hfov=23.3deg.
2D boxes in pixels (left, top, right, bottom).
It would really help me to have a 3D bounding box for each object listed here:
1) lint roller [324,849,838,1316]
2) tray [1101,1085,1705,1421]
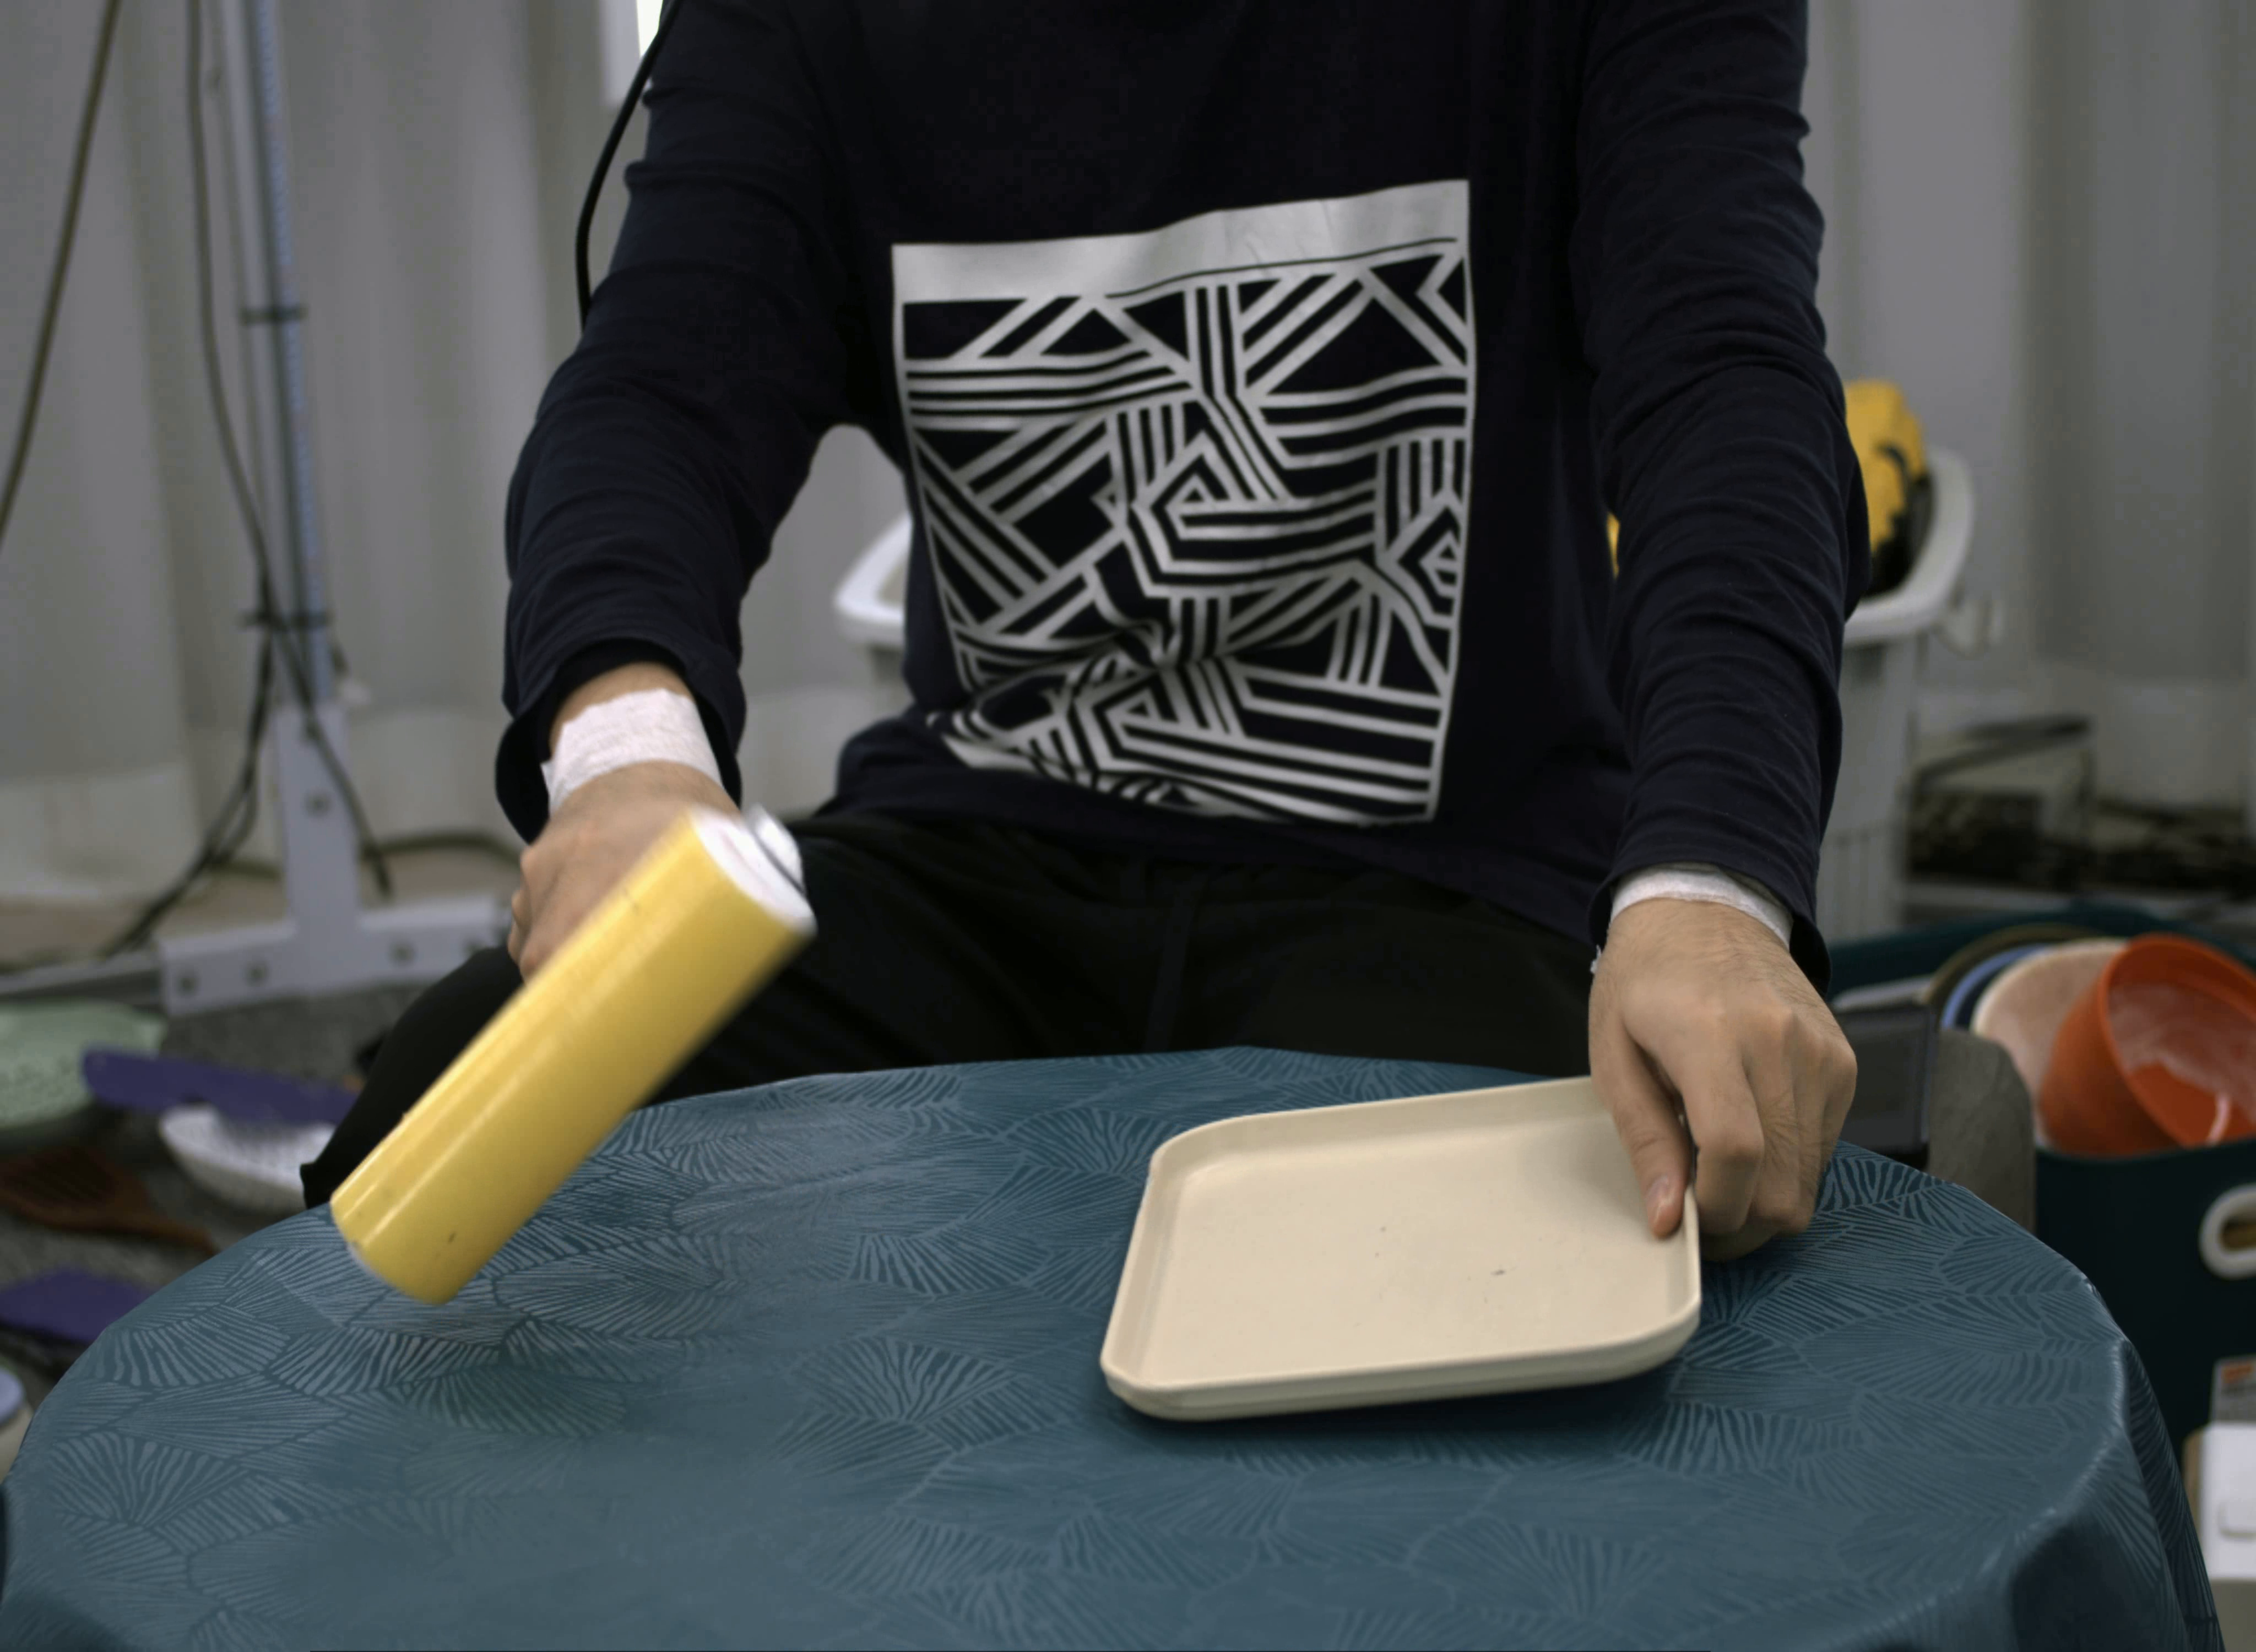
[{"bbox_3d":[-0.161,0.053,1.653,0.174,0.051,0.194,-41,16,11],"label":"lint roller"},{"bbox_3d":[0.083,0.125,1.609,0.171,0.017,0.241,-5,14,6],"label":"tray"}]
